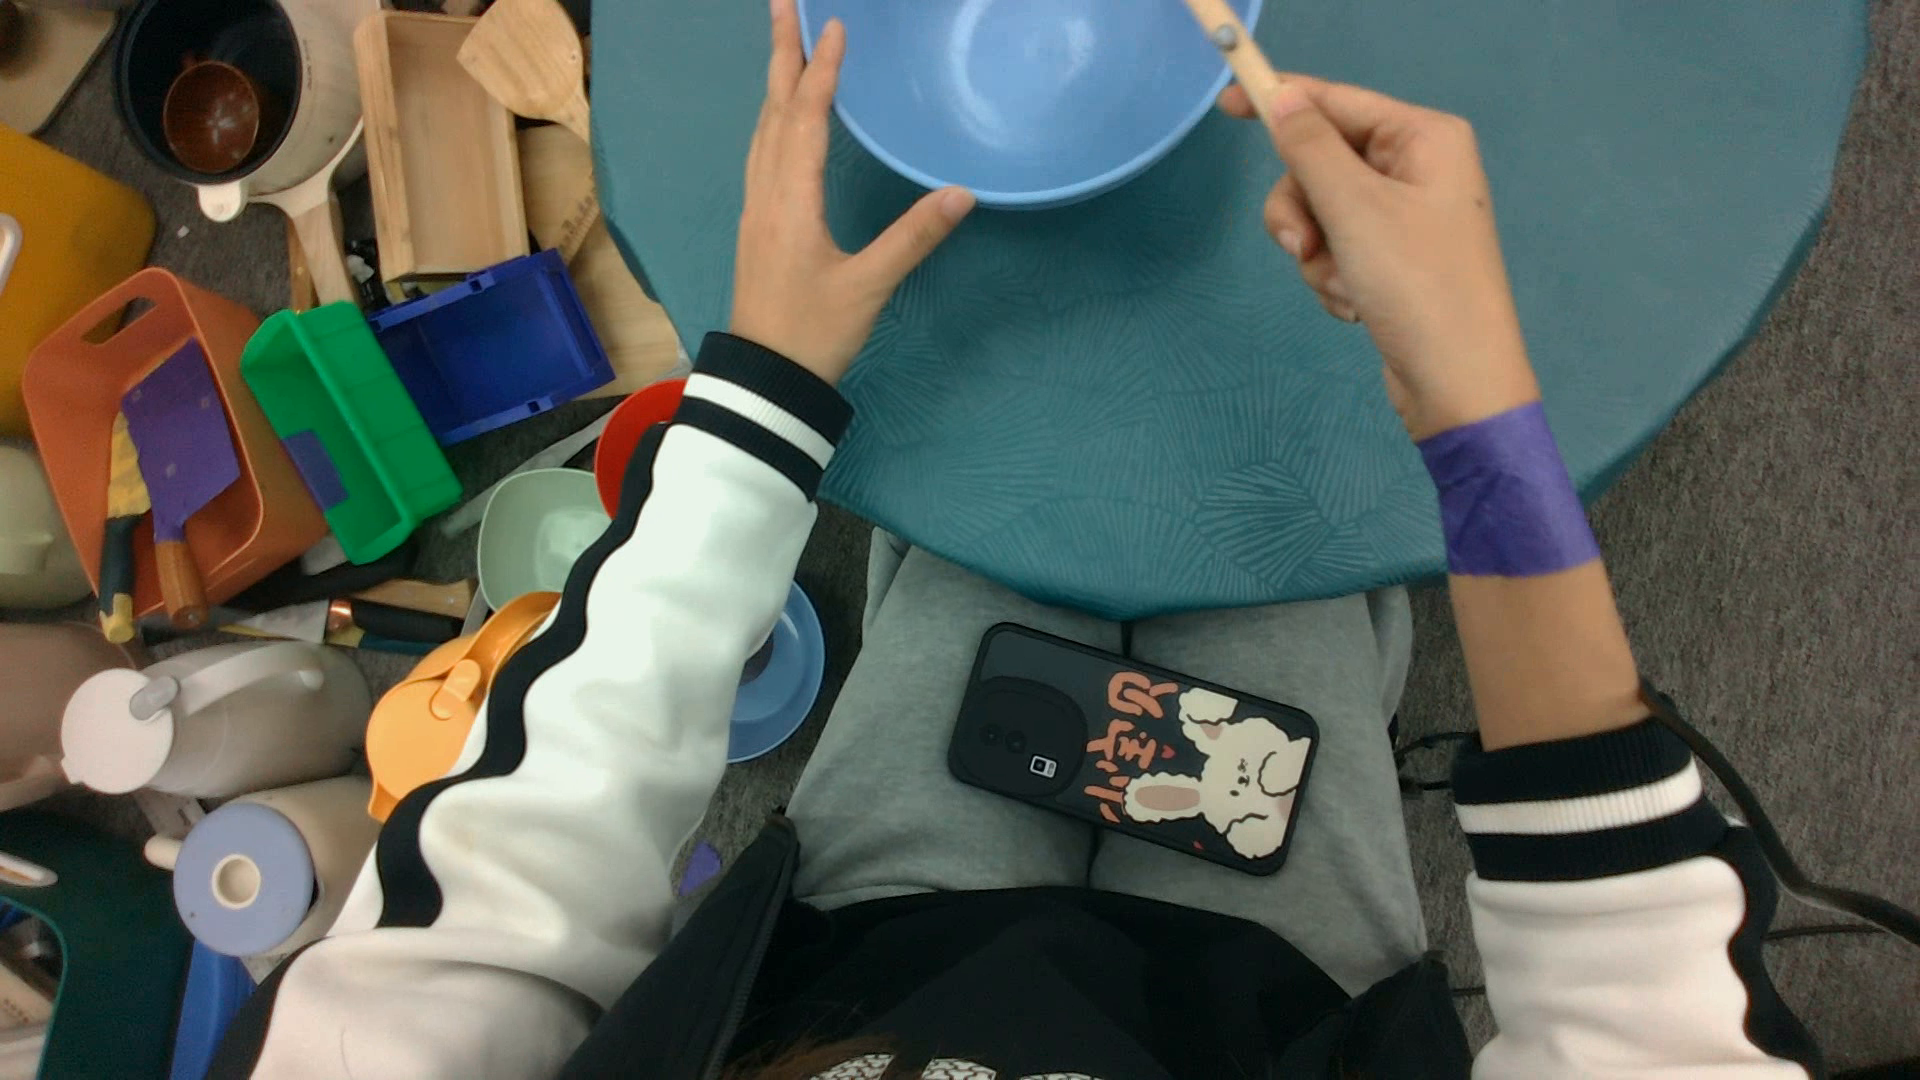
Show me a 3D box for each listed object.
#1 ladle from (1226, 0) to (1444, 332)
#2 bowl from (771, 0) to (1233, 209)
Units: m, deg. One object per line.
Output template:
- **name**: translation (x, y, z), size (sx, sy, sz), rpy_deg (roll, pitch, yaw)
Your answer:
- **ladle**: translation (0.103, -0.190, 0.458), size (0.072, 0.073, 0.254), rpy_deg (-26, 79, 0)
- **bowl**: translation (0.021, -0.236, 0.623), size (0.196, 0.095, 0.196), rpy_deg (0, 87, 5)
